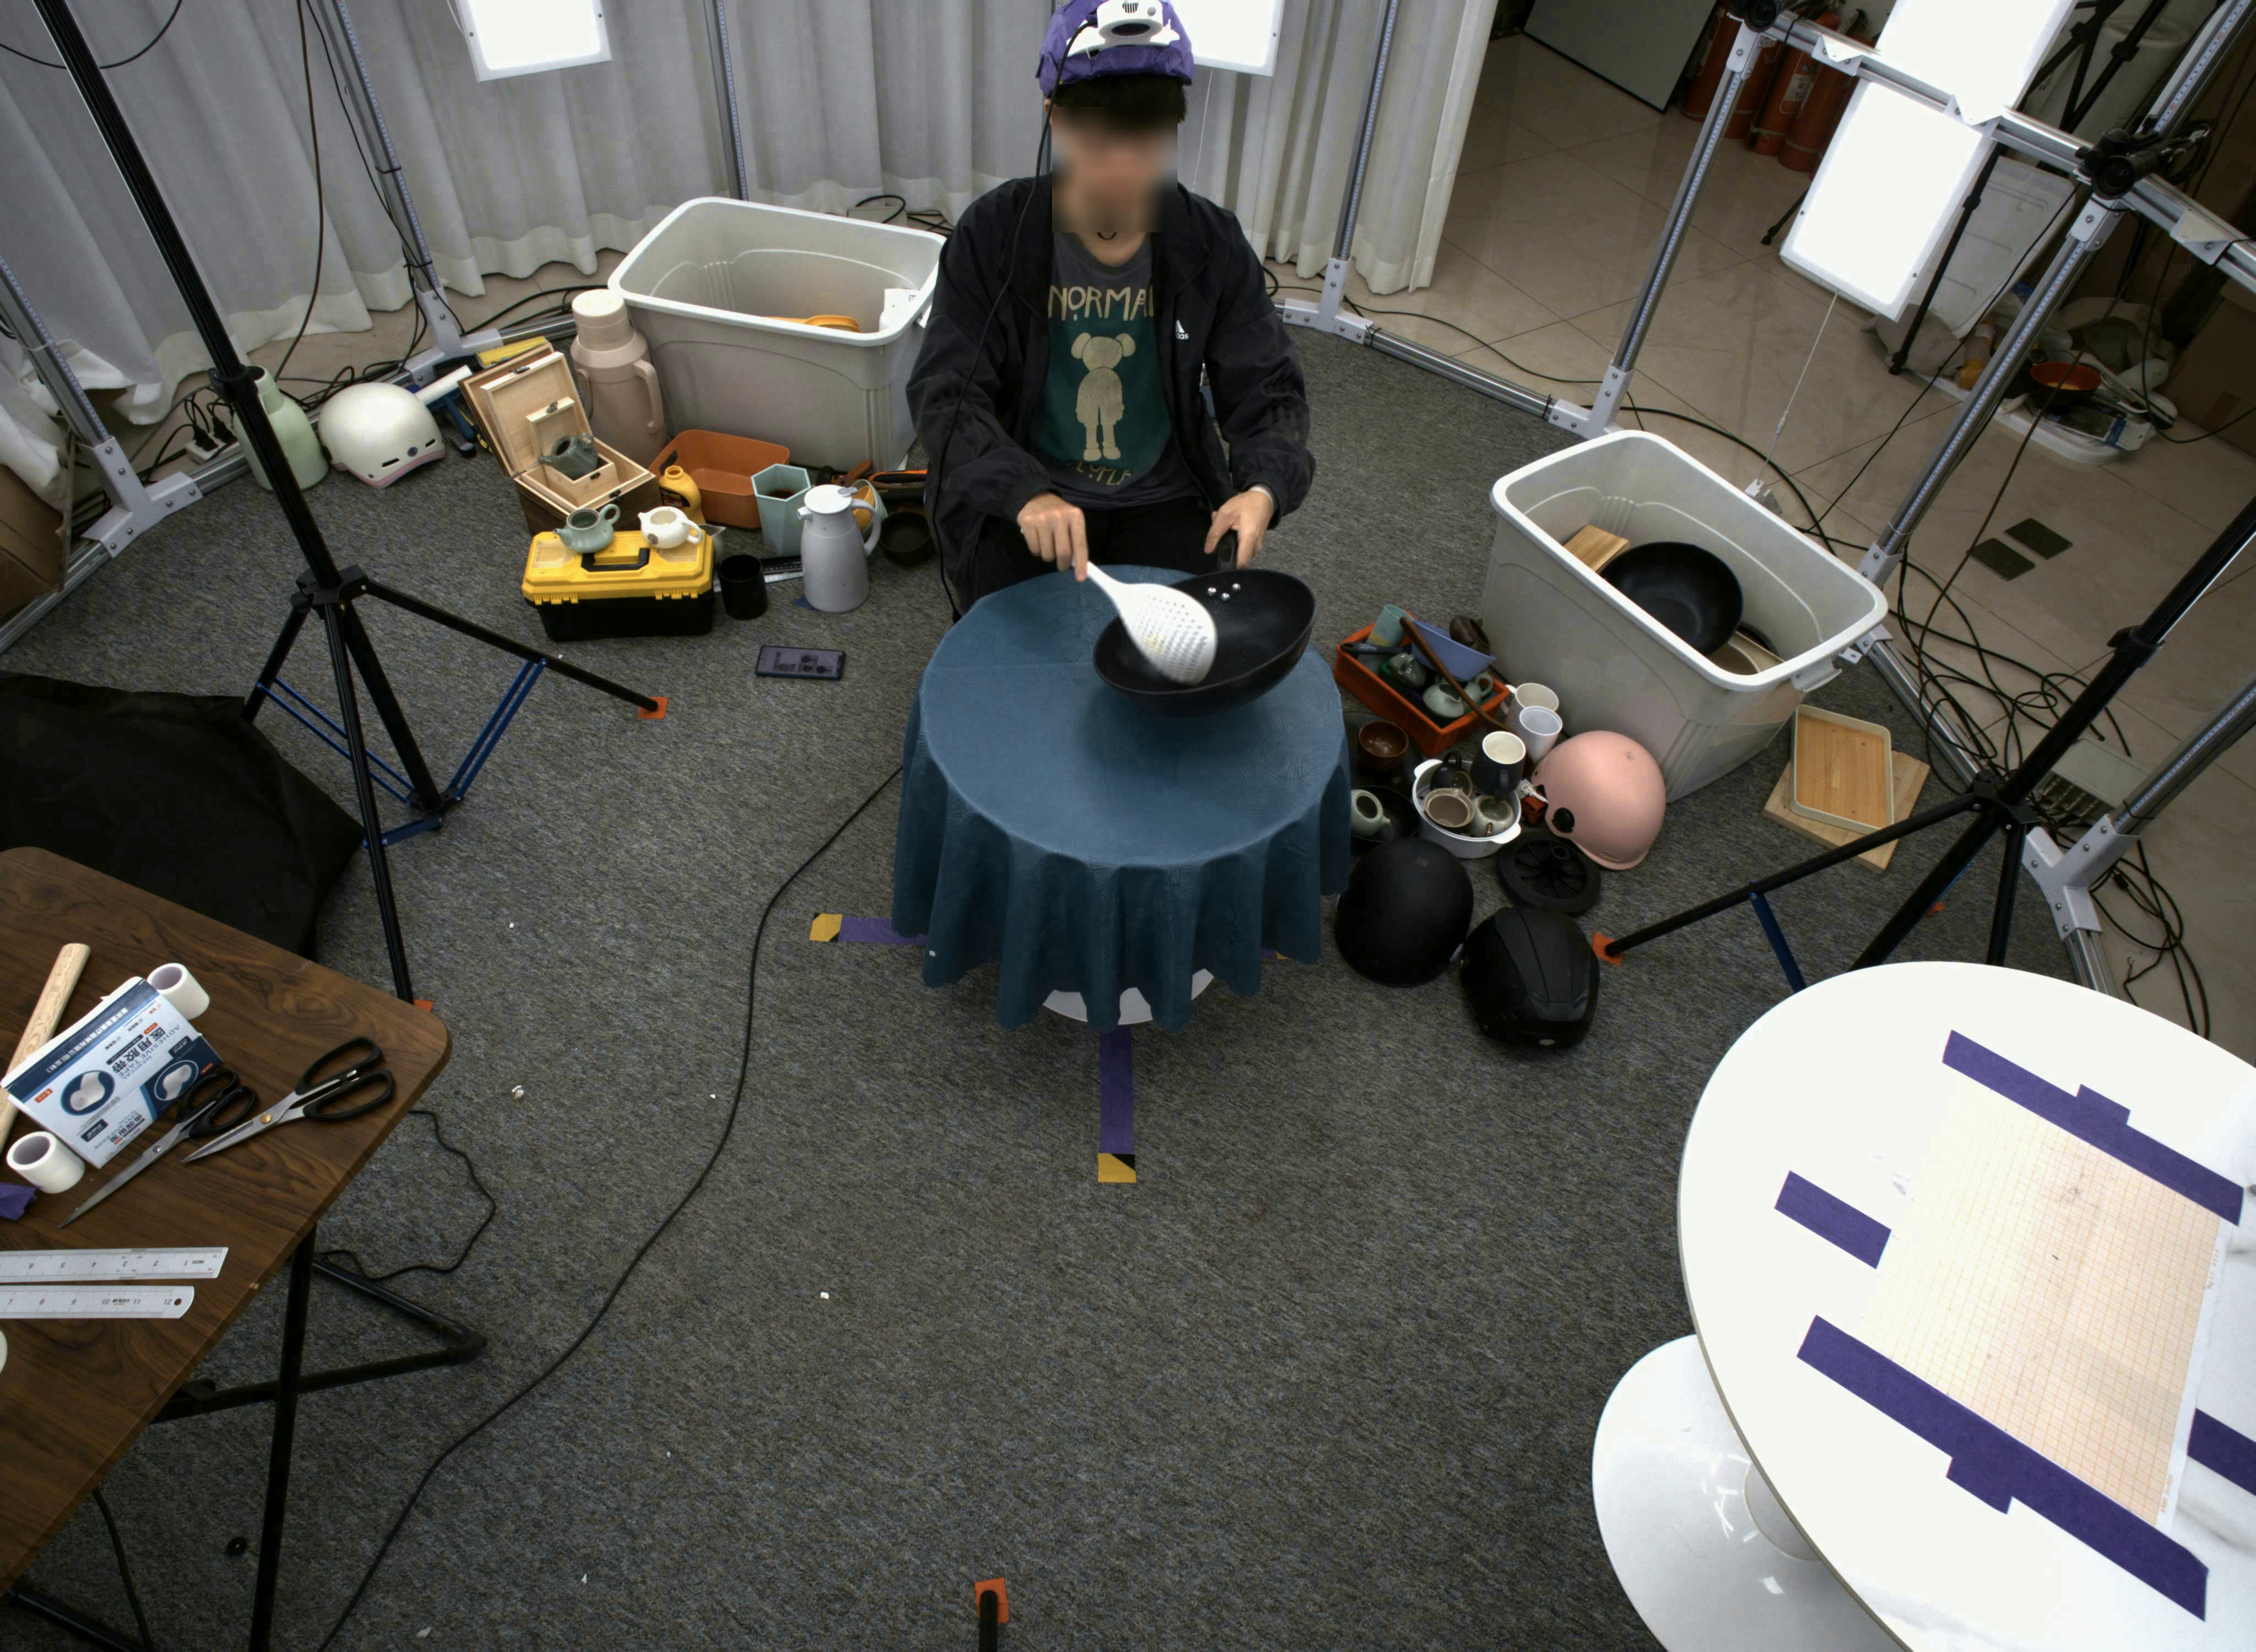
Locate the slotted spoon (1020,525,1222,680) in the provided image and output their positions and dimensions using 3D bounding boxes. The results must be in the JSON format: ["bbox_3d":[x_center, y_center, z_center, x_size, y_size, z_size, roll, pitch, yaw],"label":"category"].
[{"bbox_3d":[-0.016,-0.323,1.793,0.352,0.134,0.051,41,50,22],"label":"slotted spoon"}]

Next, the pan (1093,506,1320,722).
[{"bbox_3d":[0.127,-0.291,1.801,0.310,0.109,0.487,-5,37,19],"label":"pan"}]
